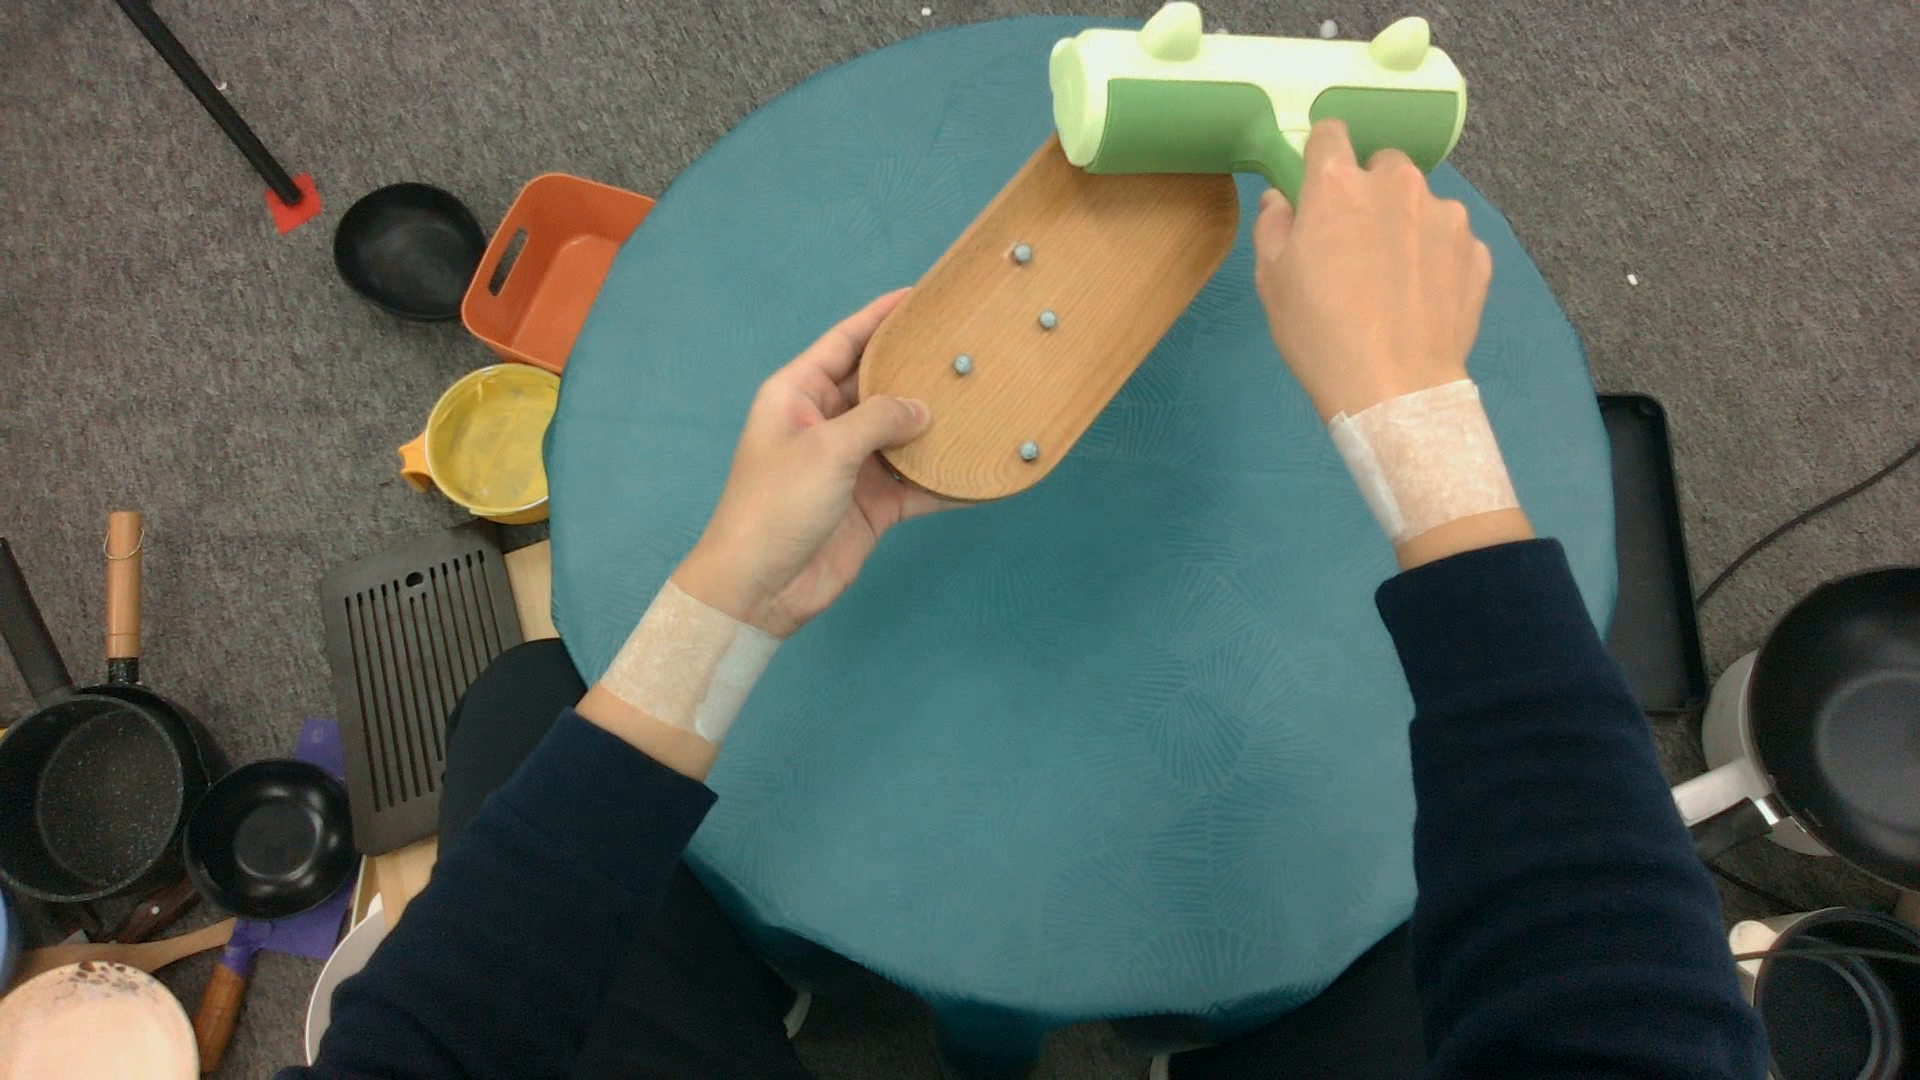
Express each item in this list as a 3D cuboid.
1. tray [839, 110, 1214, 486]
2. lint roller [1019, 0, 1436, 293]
[{"bbox_3d":[0.034,-0.121,0.631,0.101,0.020,0.232,37,69,-1],"label":"tray"},{"bbox_3d":[0.145,-0.183,0.599,0.199,0.082,0.184,-7,39,-18],"label":"lint roller"}]
